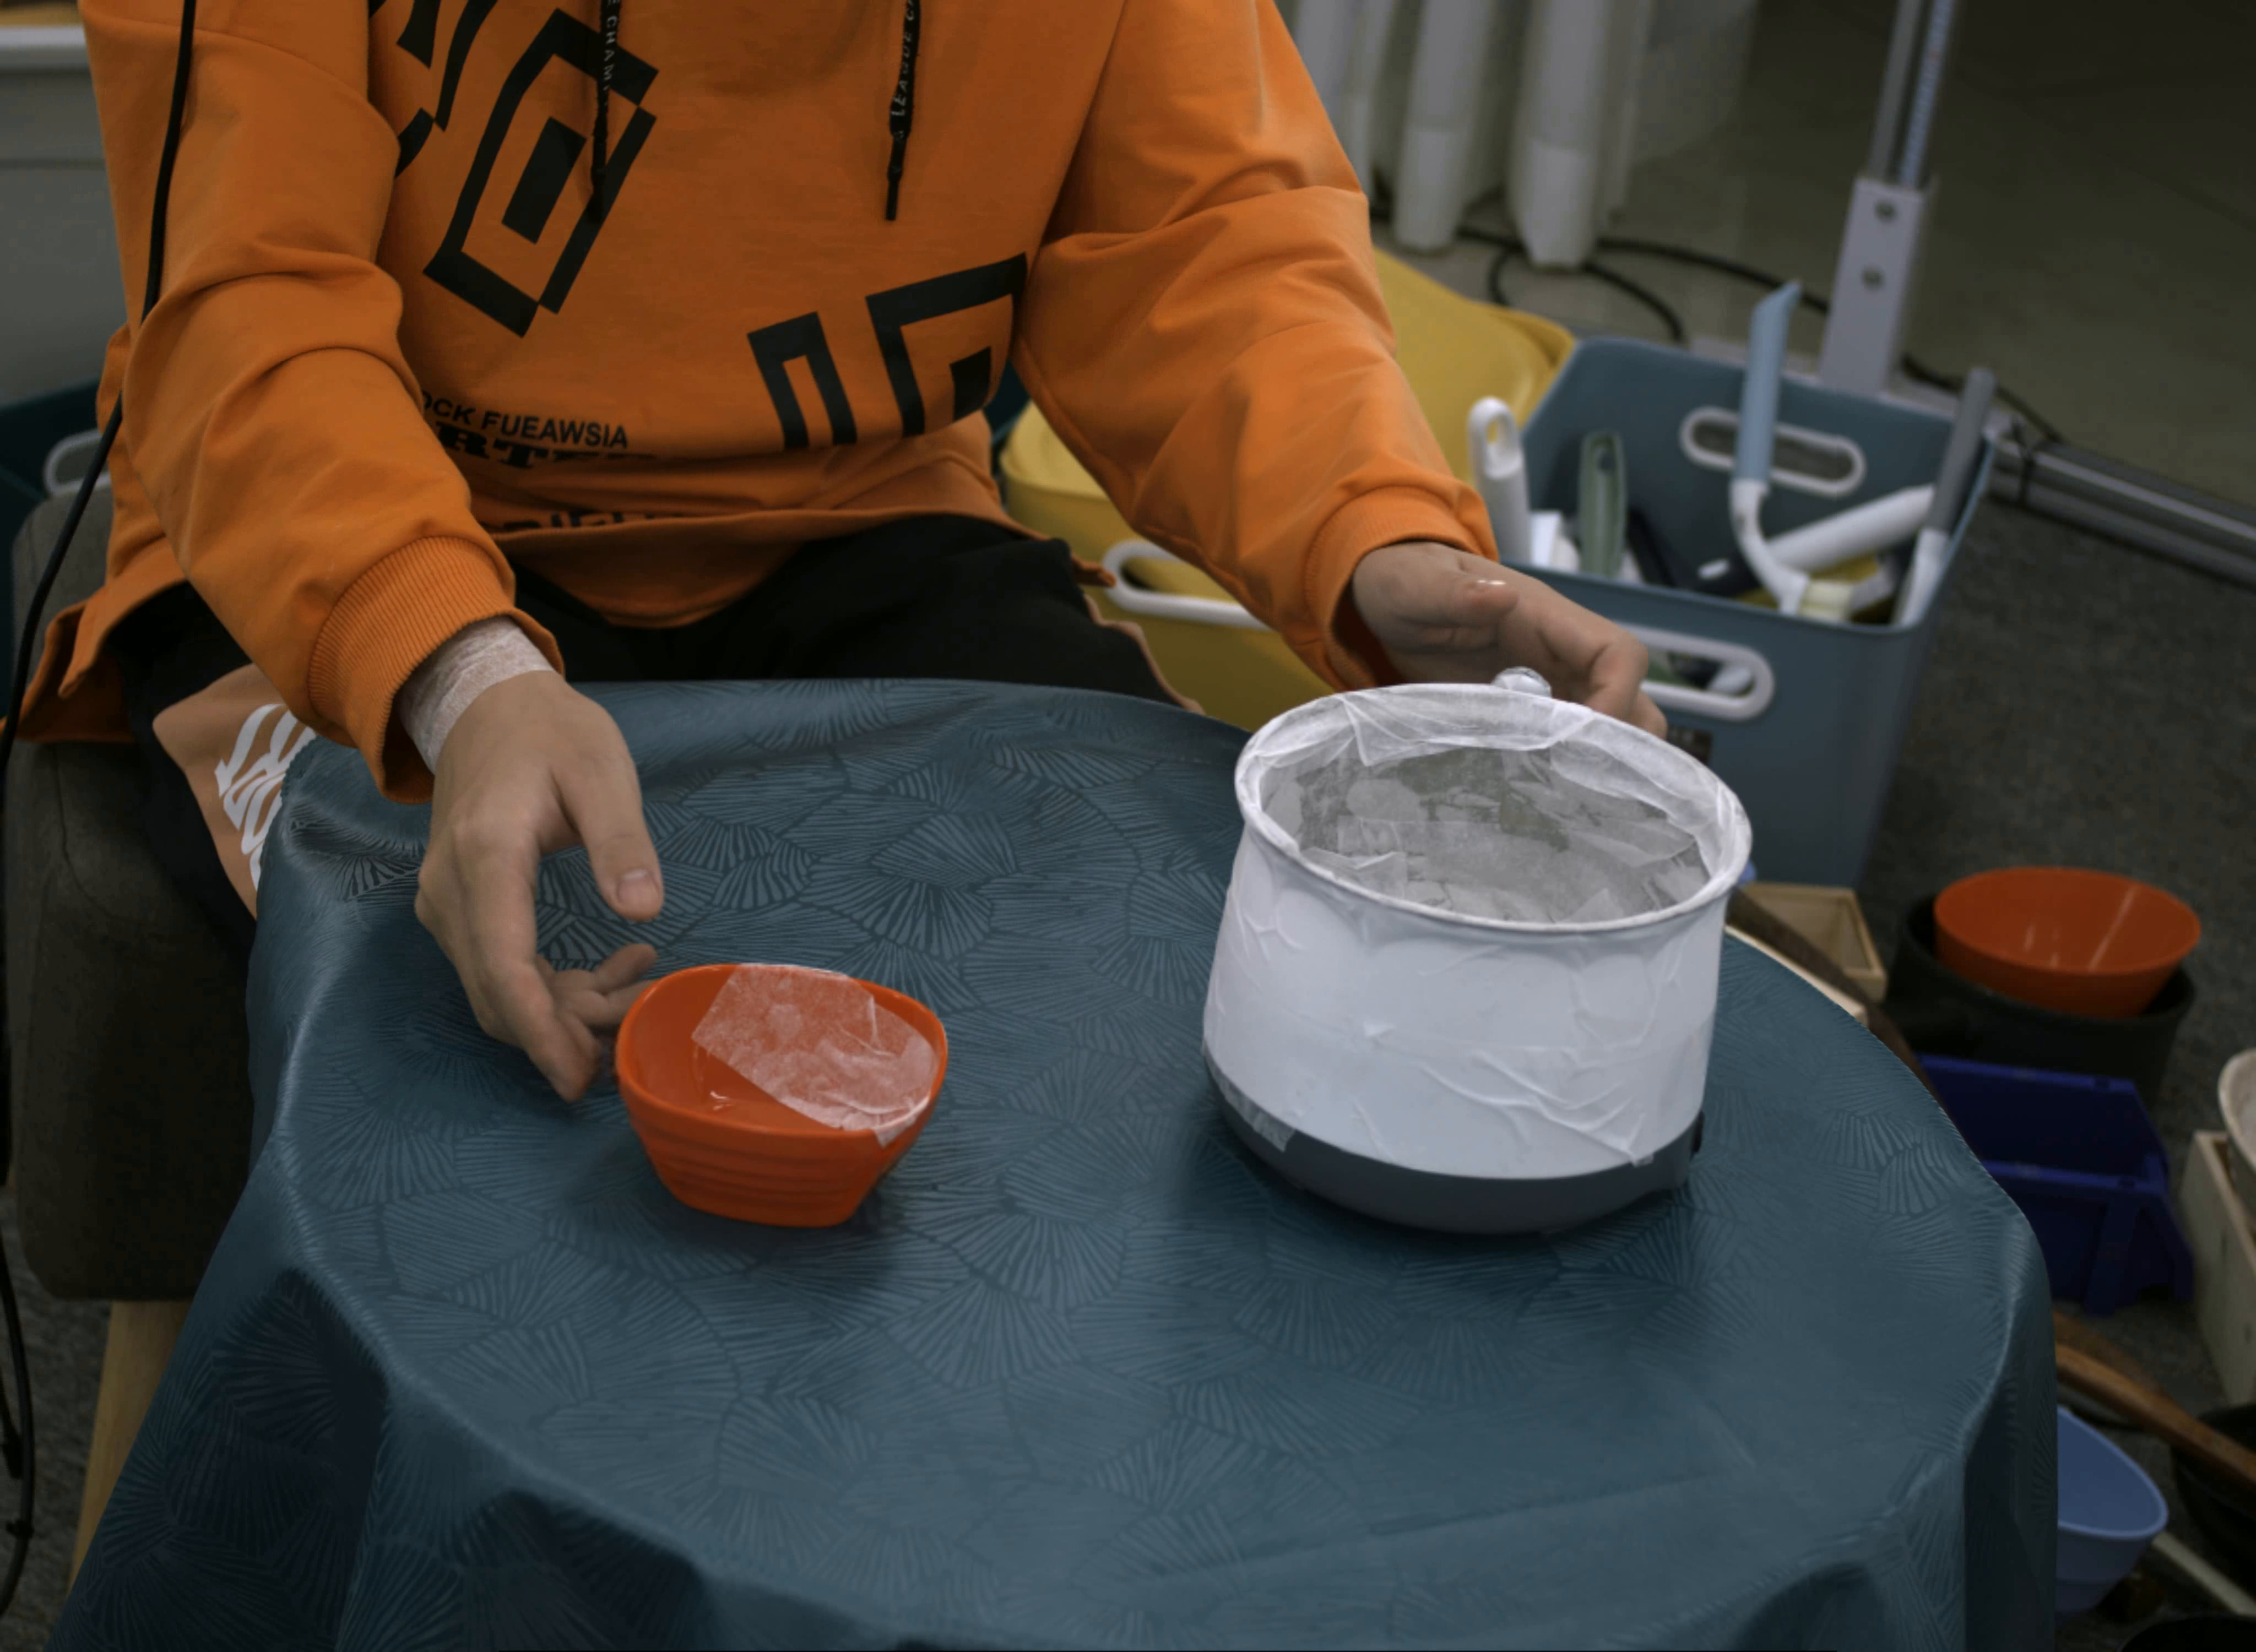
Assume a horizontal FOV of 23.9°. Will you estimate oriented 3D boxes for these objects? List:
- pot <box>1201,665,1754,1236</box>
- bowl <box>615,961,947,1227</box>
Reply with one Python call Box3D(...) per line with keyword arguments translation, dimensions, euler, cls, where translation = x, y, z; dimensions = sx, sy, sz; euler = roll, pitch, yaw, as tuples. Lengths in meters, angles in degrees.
Box3D(translation=(0.120, 0.035, 1.852), dimensions=(0.178, 0.136, 0.234), euler=(9, 27, 4), cls="pot")
Box3D(translation=(-0.117, 0.094, 1.779), dimensions=(0.118, 0.051, 0.119), euler=(4, 27, -3), cls="bowl")
